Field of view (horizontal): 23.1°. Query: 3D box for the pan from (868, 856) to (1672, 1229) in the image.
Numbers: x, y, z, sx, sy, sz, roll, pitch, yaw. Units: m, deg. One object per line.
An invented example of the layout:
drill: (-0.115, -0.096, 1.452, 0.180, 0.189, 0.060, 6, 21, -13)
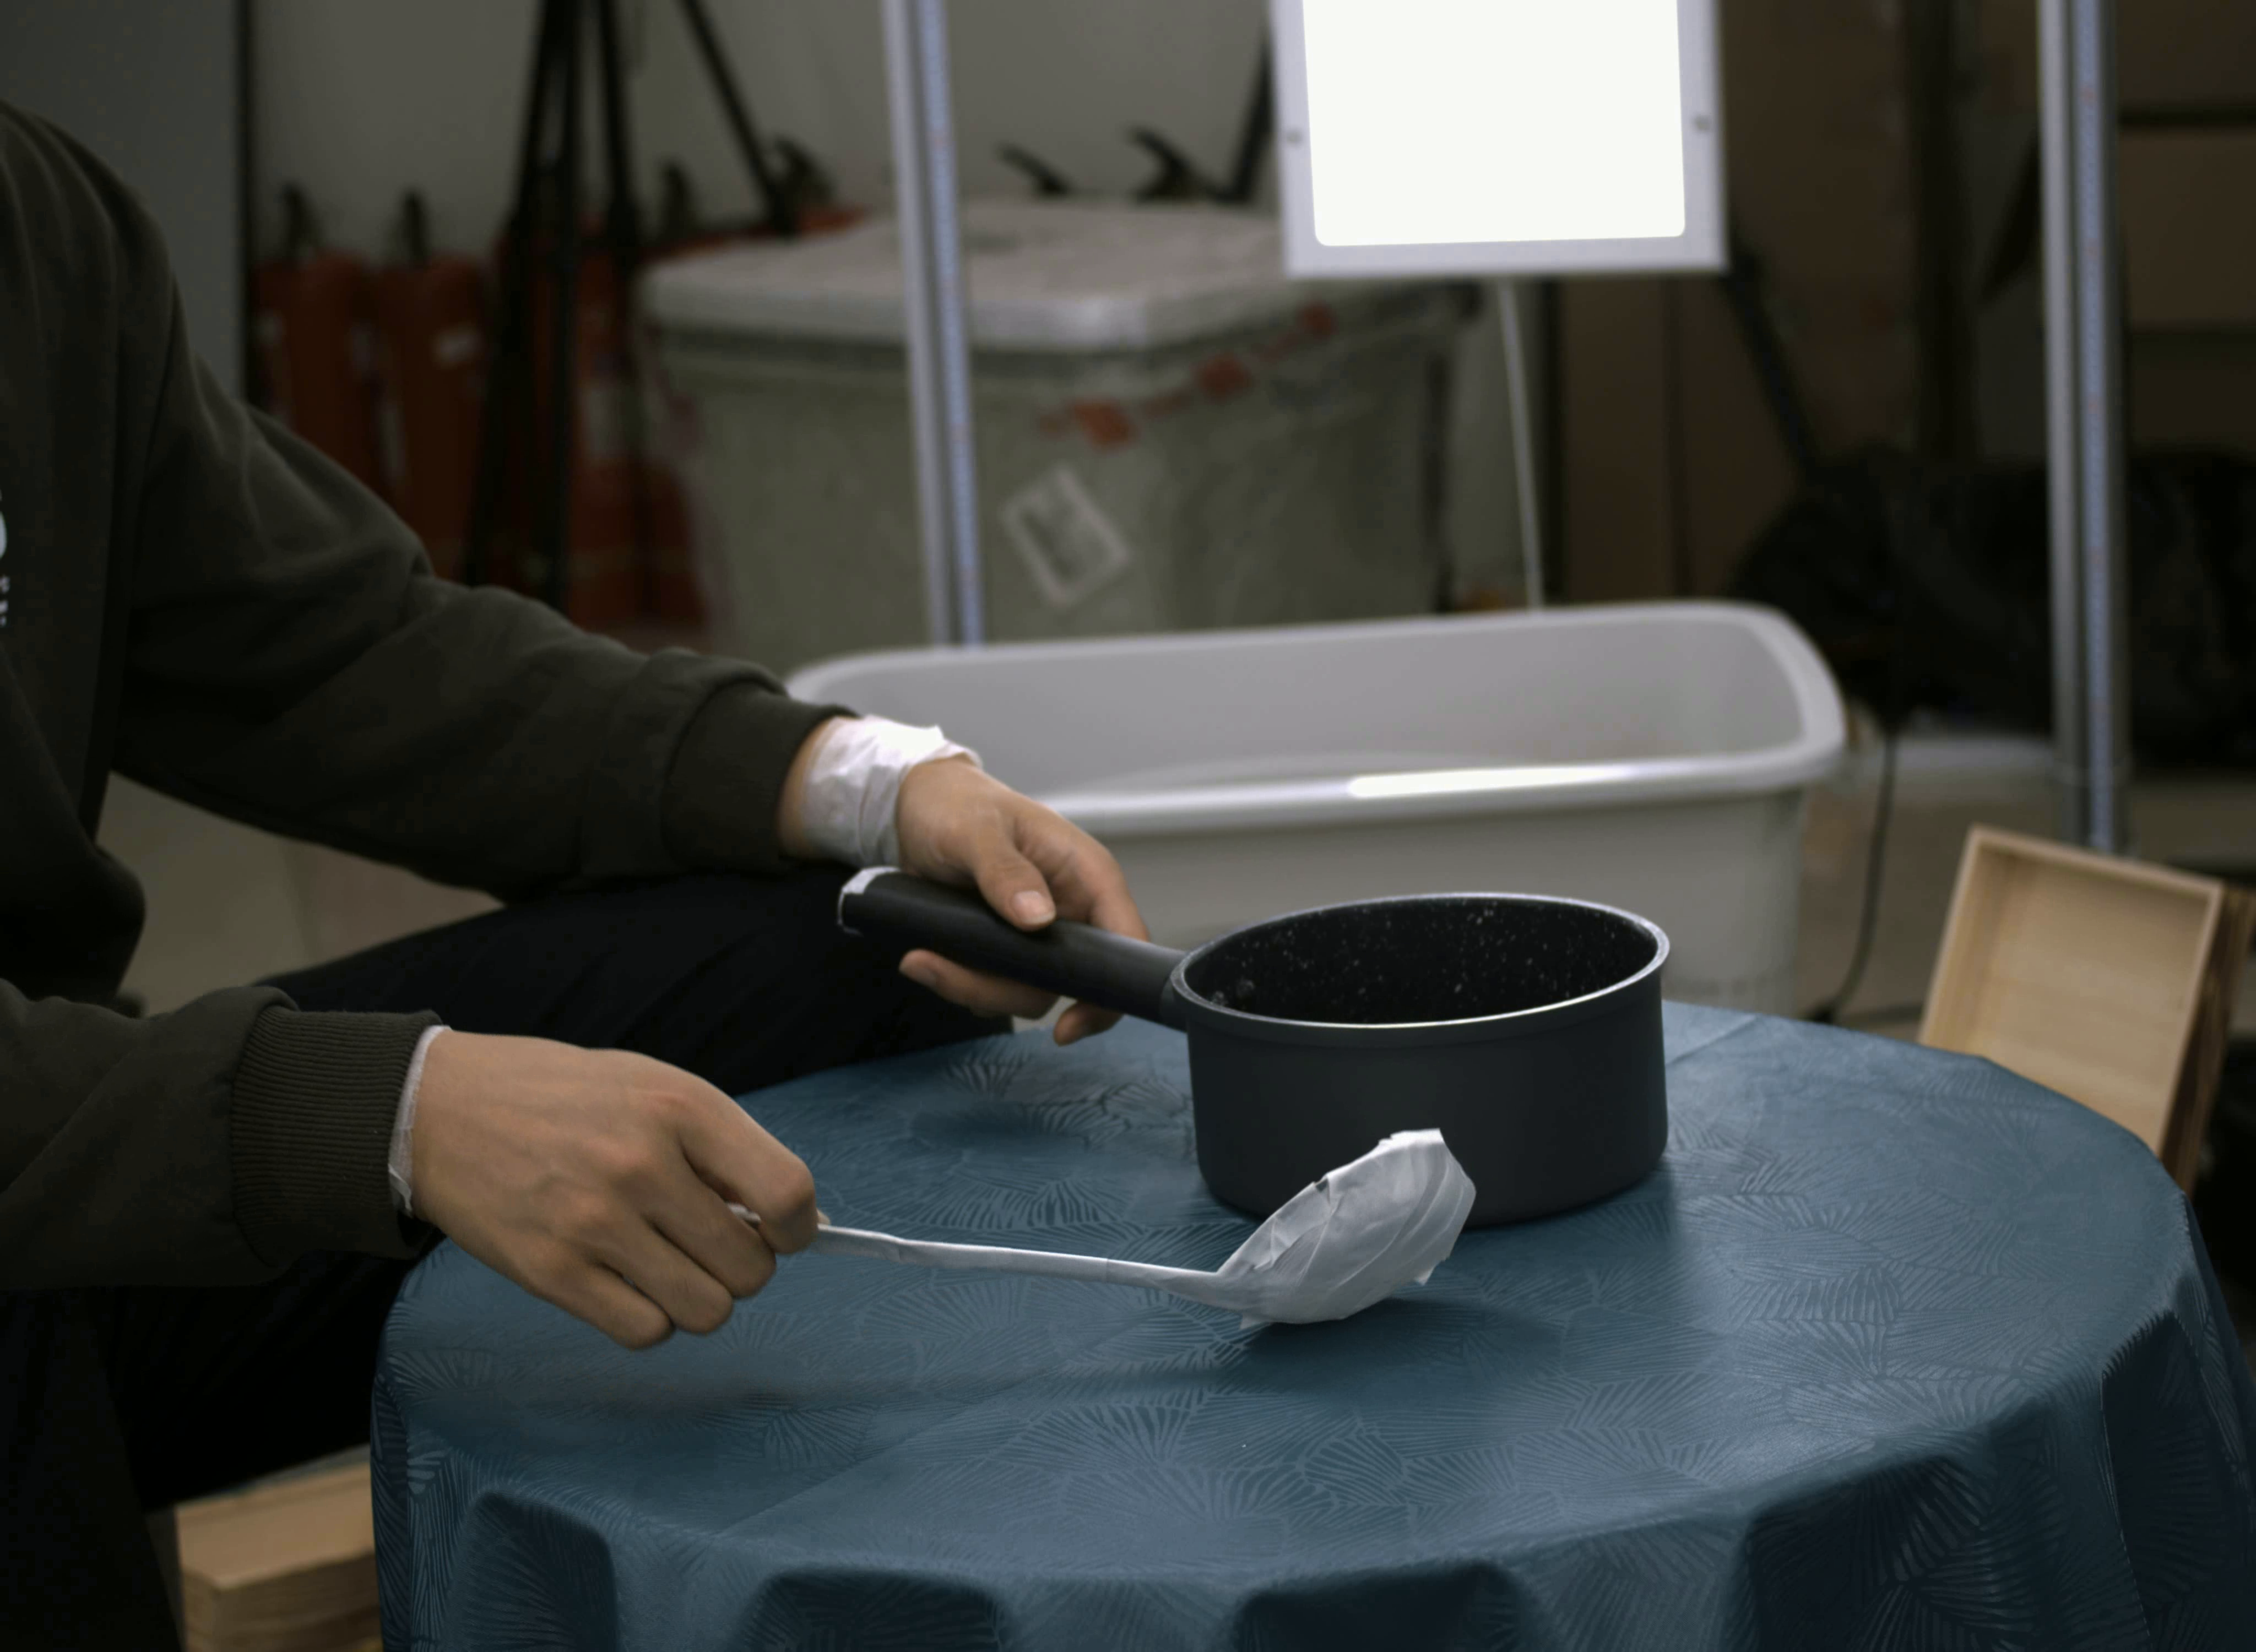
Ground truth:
pan: (0.041, 0.071, 1.942, 0.336, 0.087, 0.167, 7, 17, 39)

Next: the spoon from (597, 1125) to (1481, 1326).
spoon: (-0.028, 0.122, 1.745, 0.278, 0.101, 0.059, 4, 57, 8)
